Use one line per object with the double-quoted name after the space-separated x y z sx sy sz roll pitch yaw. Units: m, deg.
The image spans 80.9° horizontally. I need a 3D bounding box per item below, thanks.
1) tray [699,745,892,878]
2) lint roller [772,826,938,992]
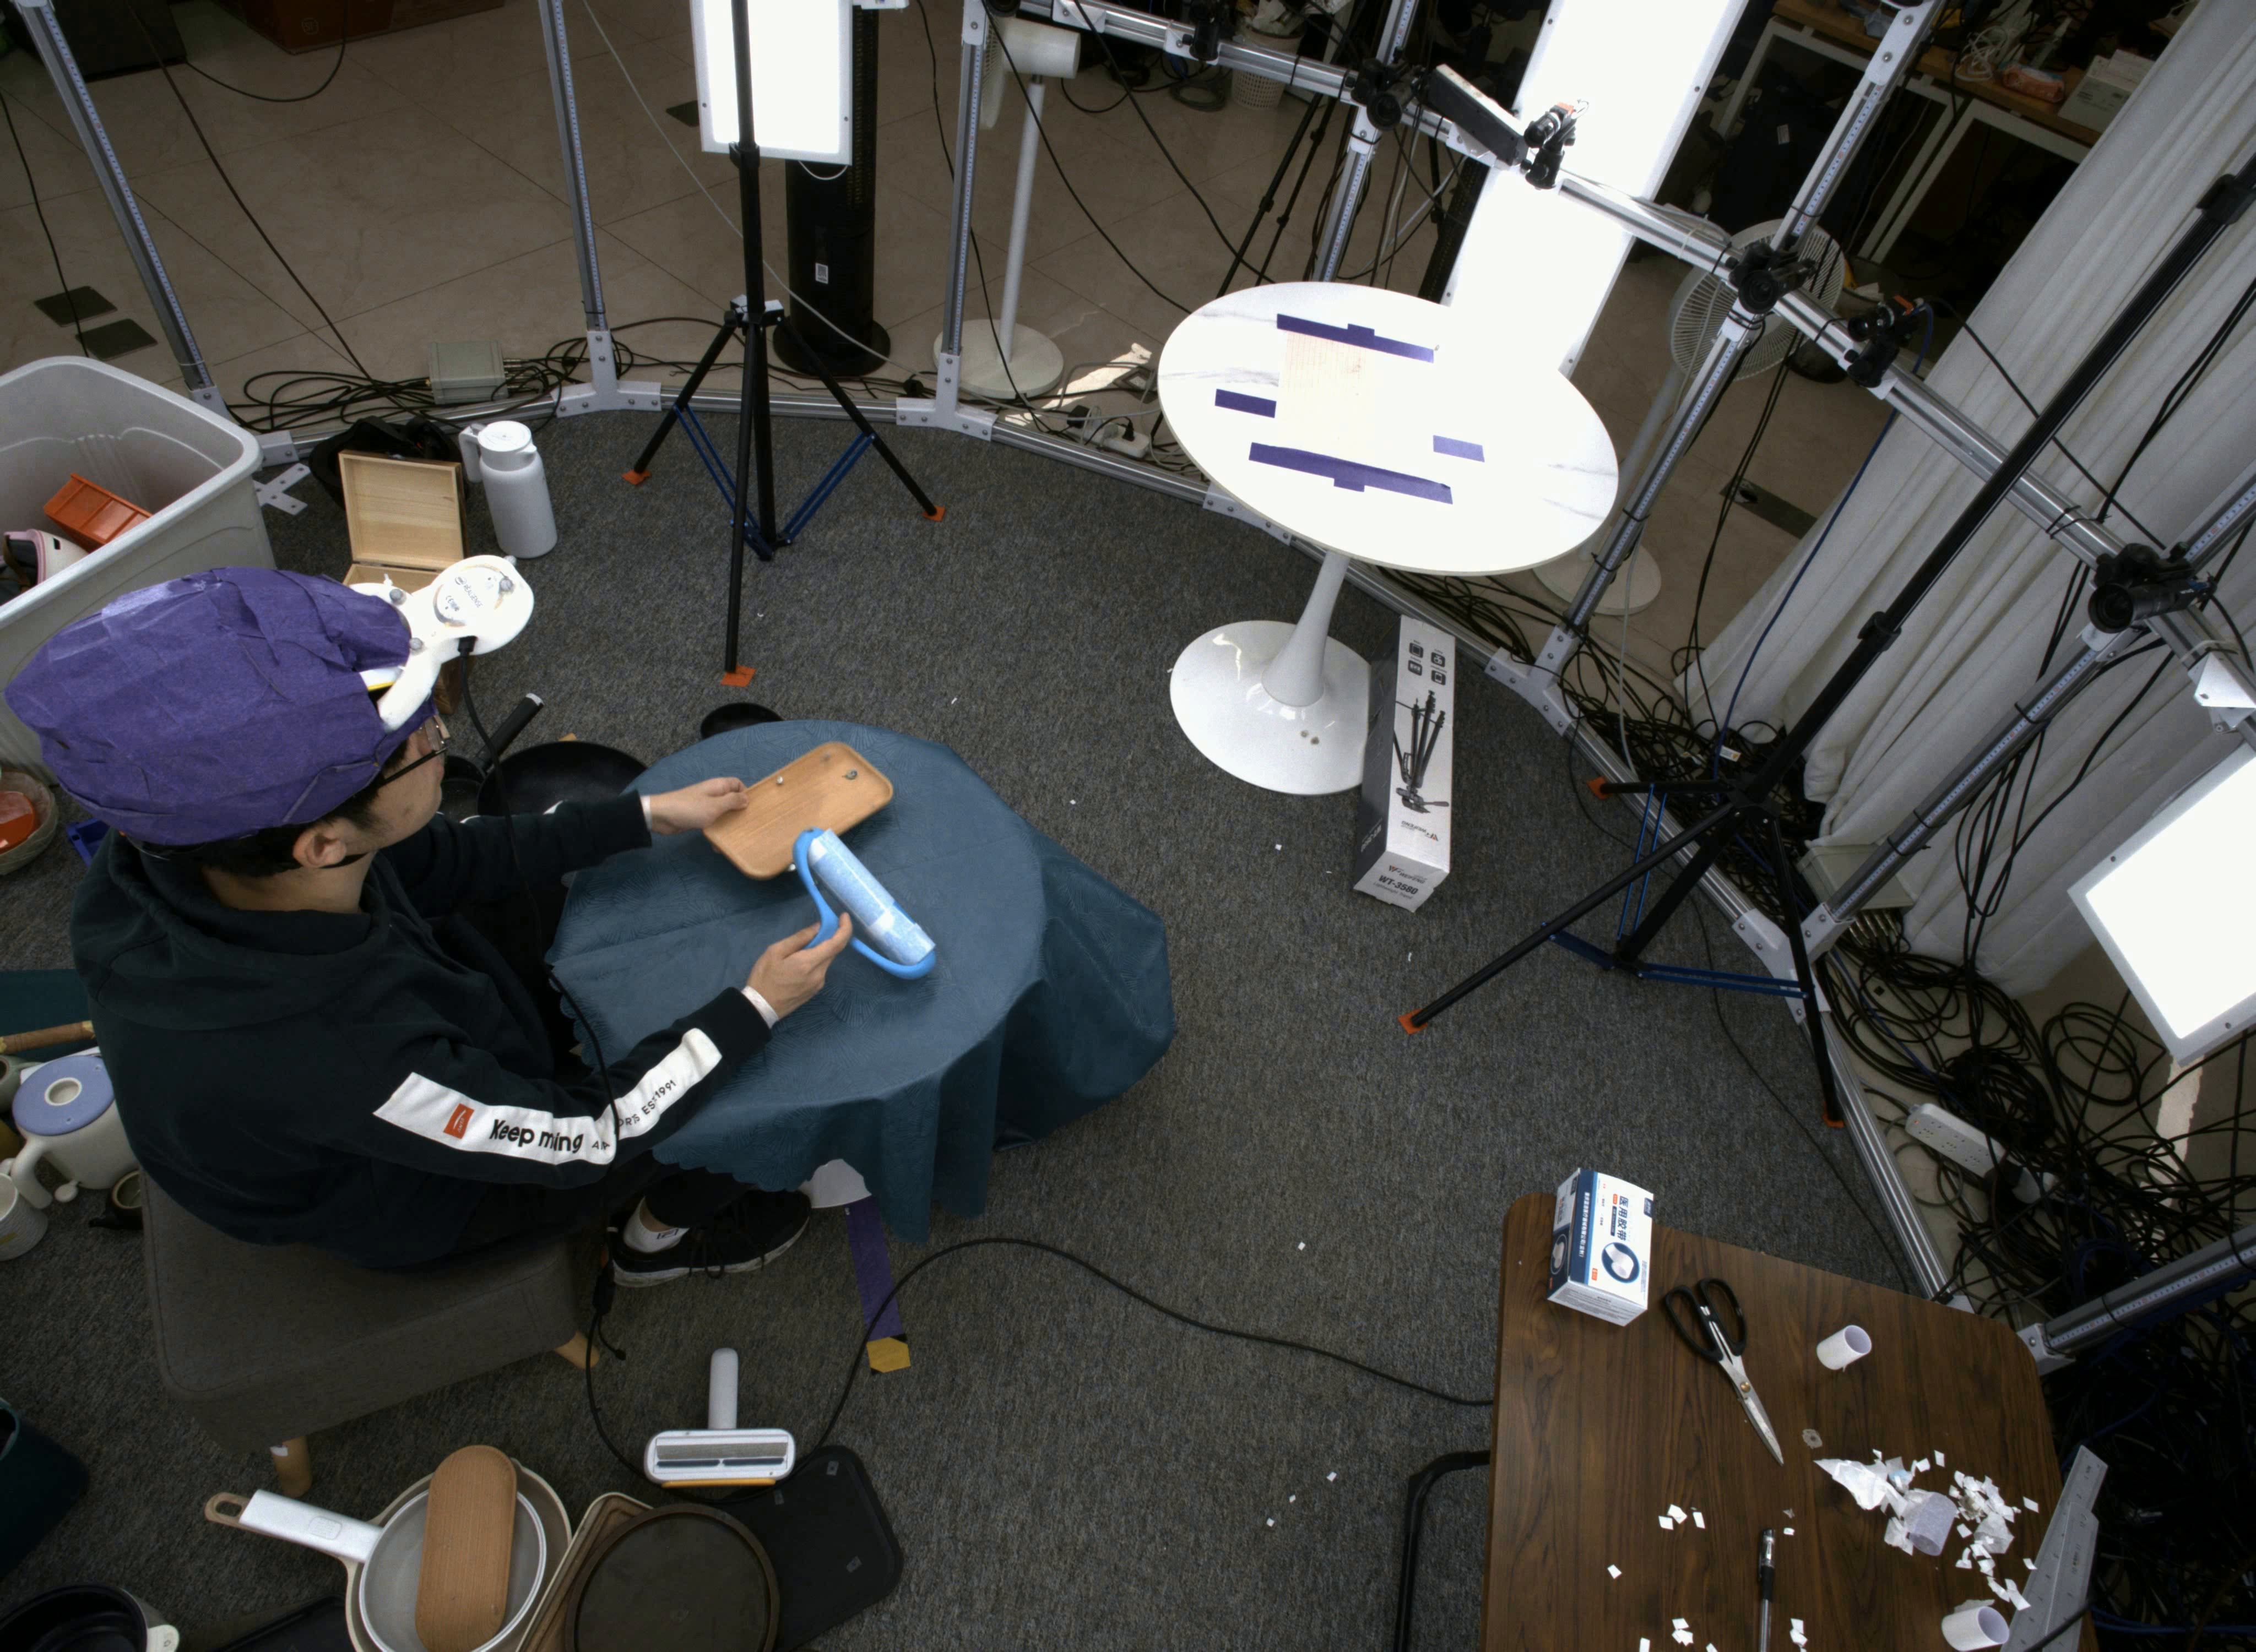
-0.430 -0.023 1.690 0.128 0.023 0.251 40 46 15 "tray"
-0.356 0.130 1.569 0.232 0.067 0.180 46 68 -10 "lint roller"
